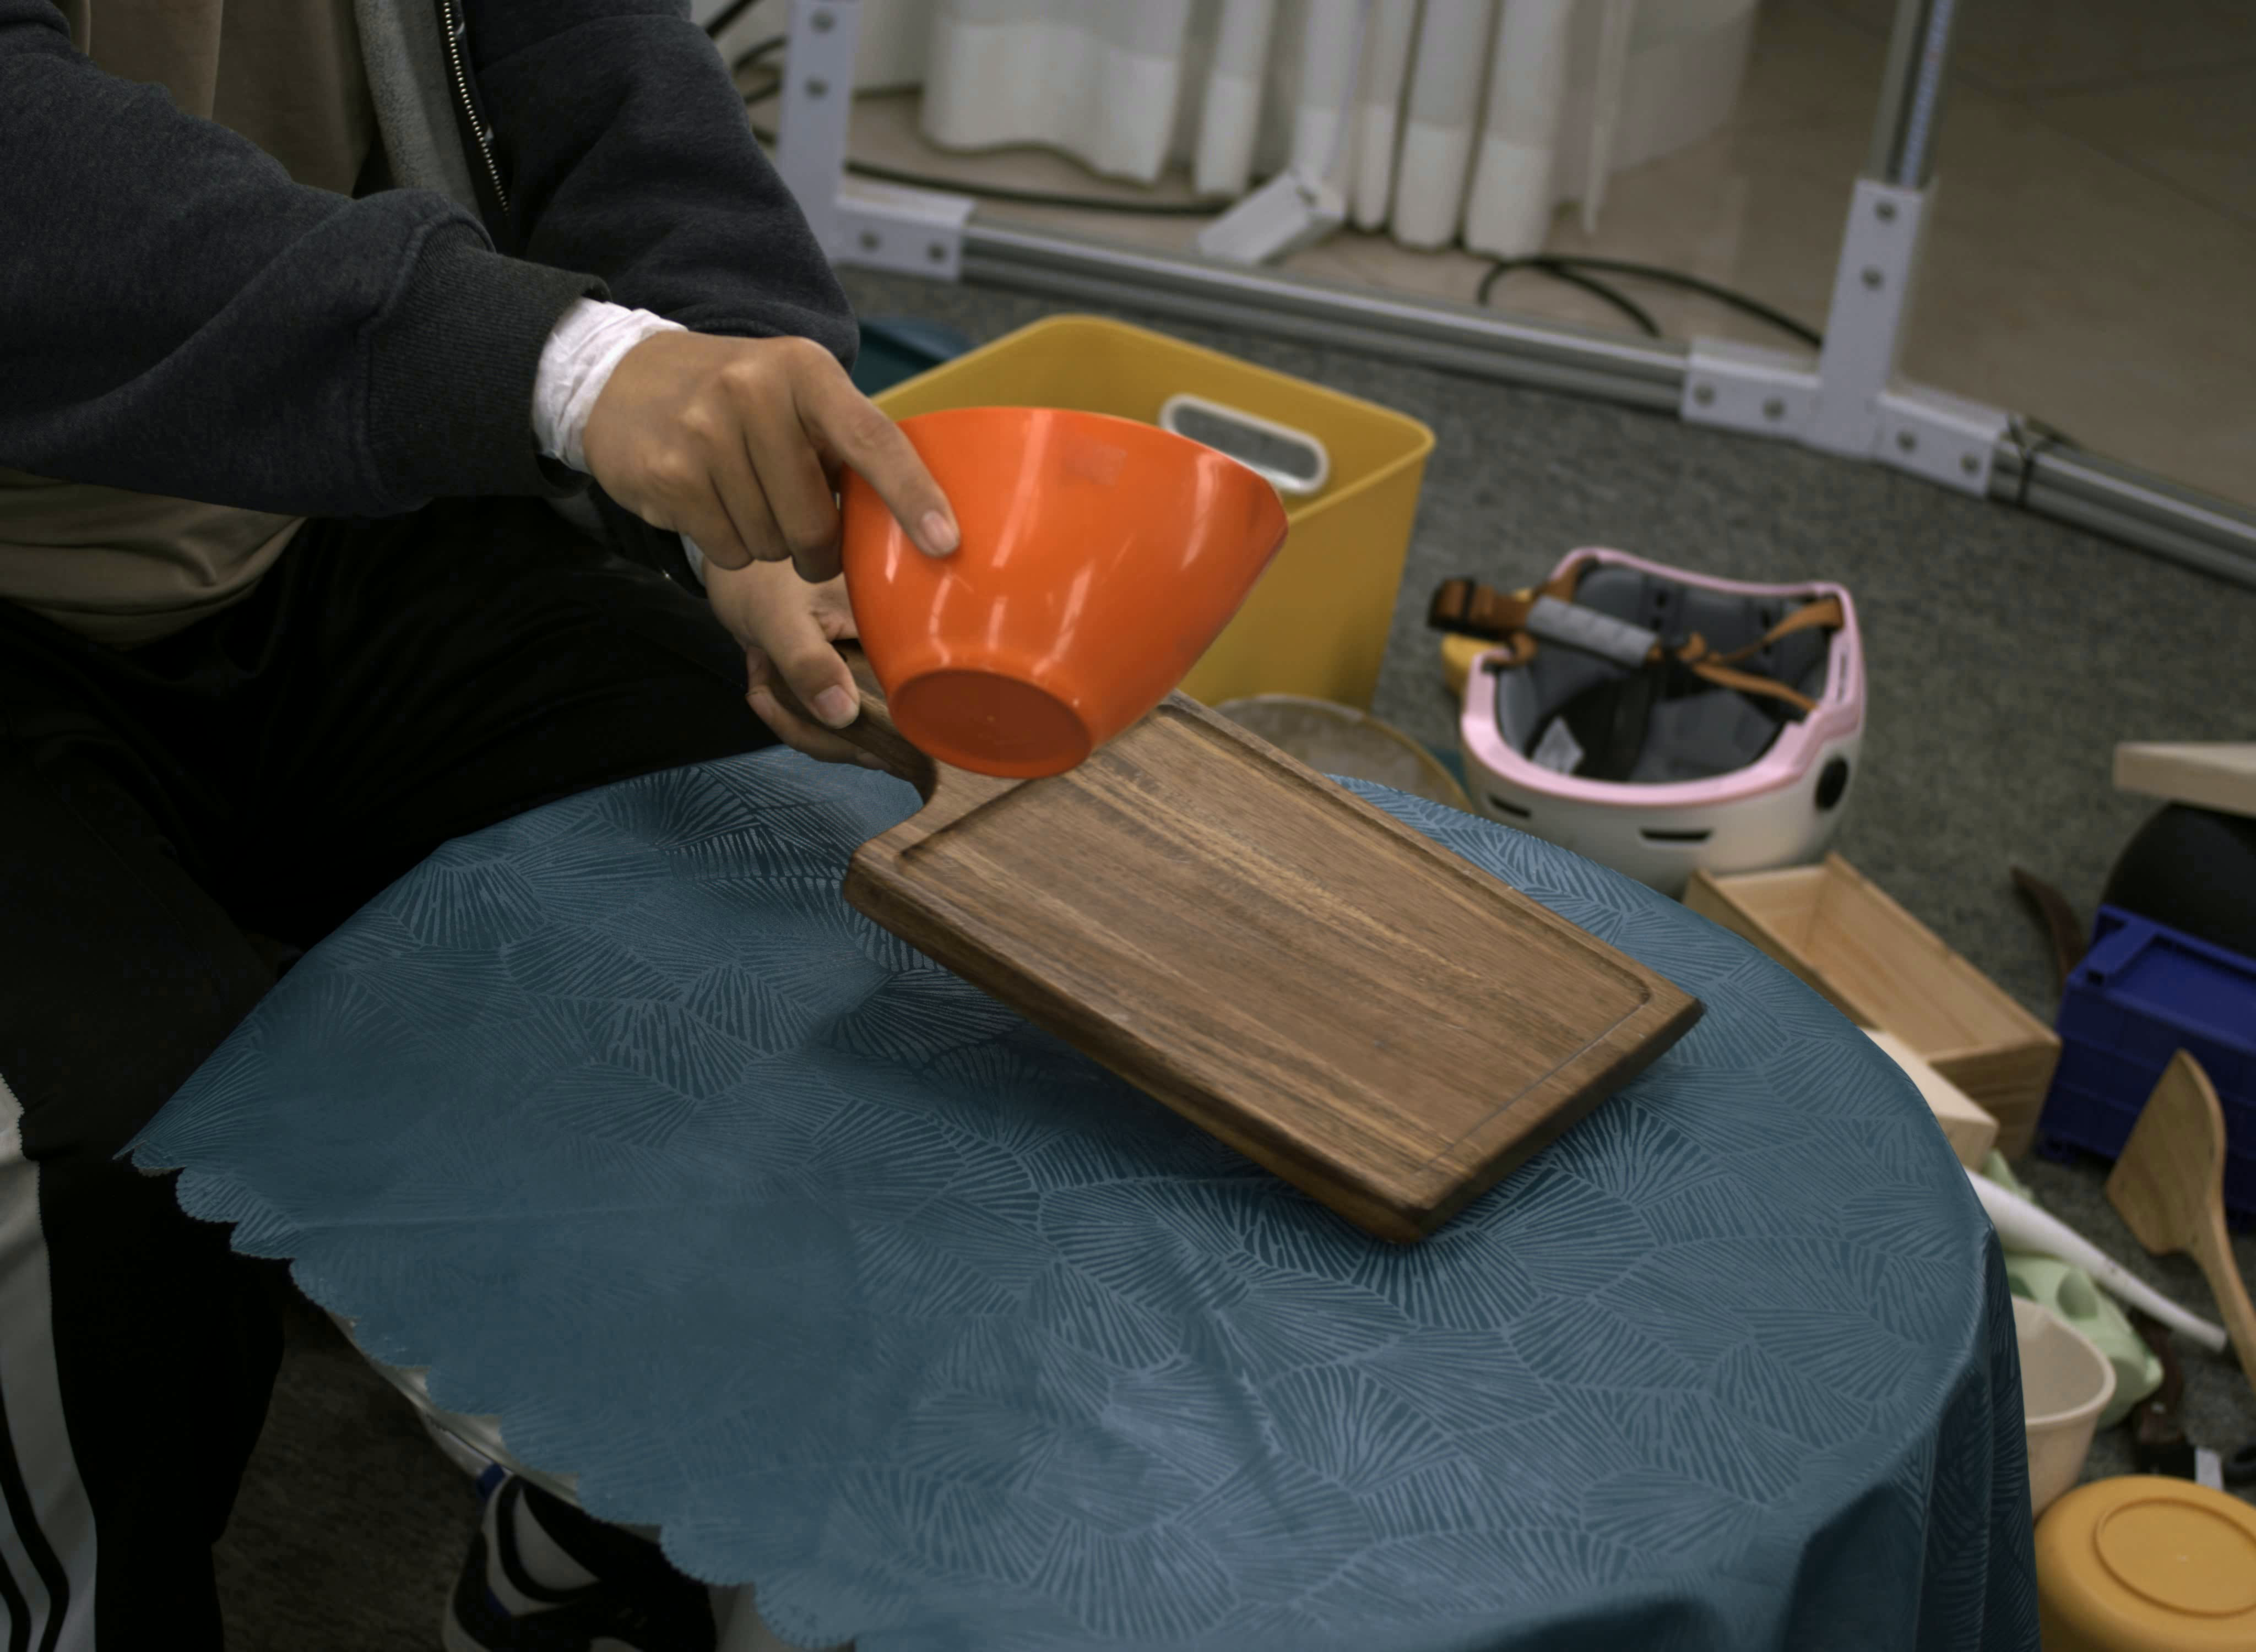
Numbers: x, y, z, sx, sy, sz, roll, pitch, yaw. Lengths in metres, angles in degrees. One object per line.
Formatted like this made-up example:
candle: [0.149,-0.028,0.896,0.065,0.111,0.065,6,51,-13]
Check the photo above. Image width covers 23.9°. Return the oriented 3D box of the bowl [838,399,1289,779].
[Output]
bowl: [-0.029,-0.070,1.717,0.148,0.147,0.105,10,61,6]

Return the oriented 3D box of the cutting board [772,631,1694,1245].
cutting board: [0.014,0.019,1.914,0.354,0.023,0.200,31,36,23]
